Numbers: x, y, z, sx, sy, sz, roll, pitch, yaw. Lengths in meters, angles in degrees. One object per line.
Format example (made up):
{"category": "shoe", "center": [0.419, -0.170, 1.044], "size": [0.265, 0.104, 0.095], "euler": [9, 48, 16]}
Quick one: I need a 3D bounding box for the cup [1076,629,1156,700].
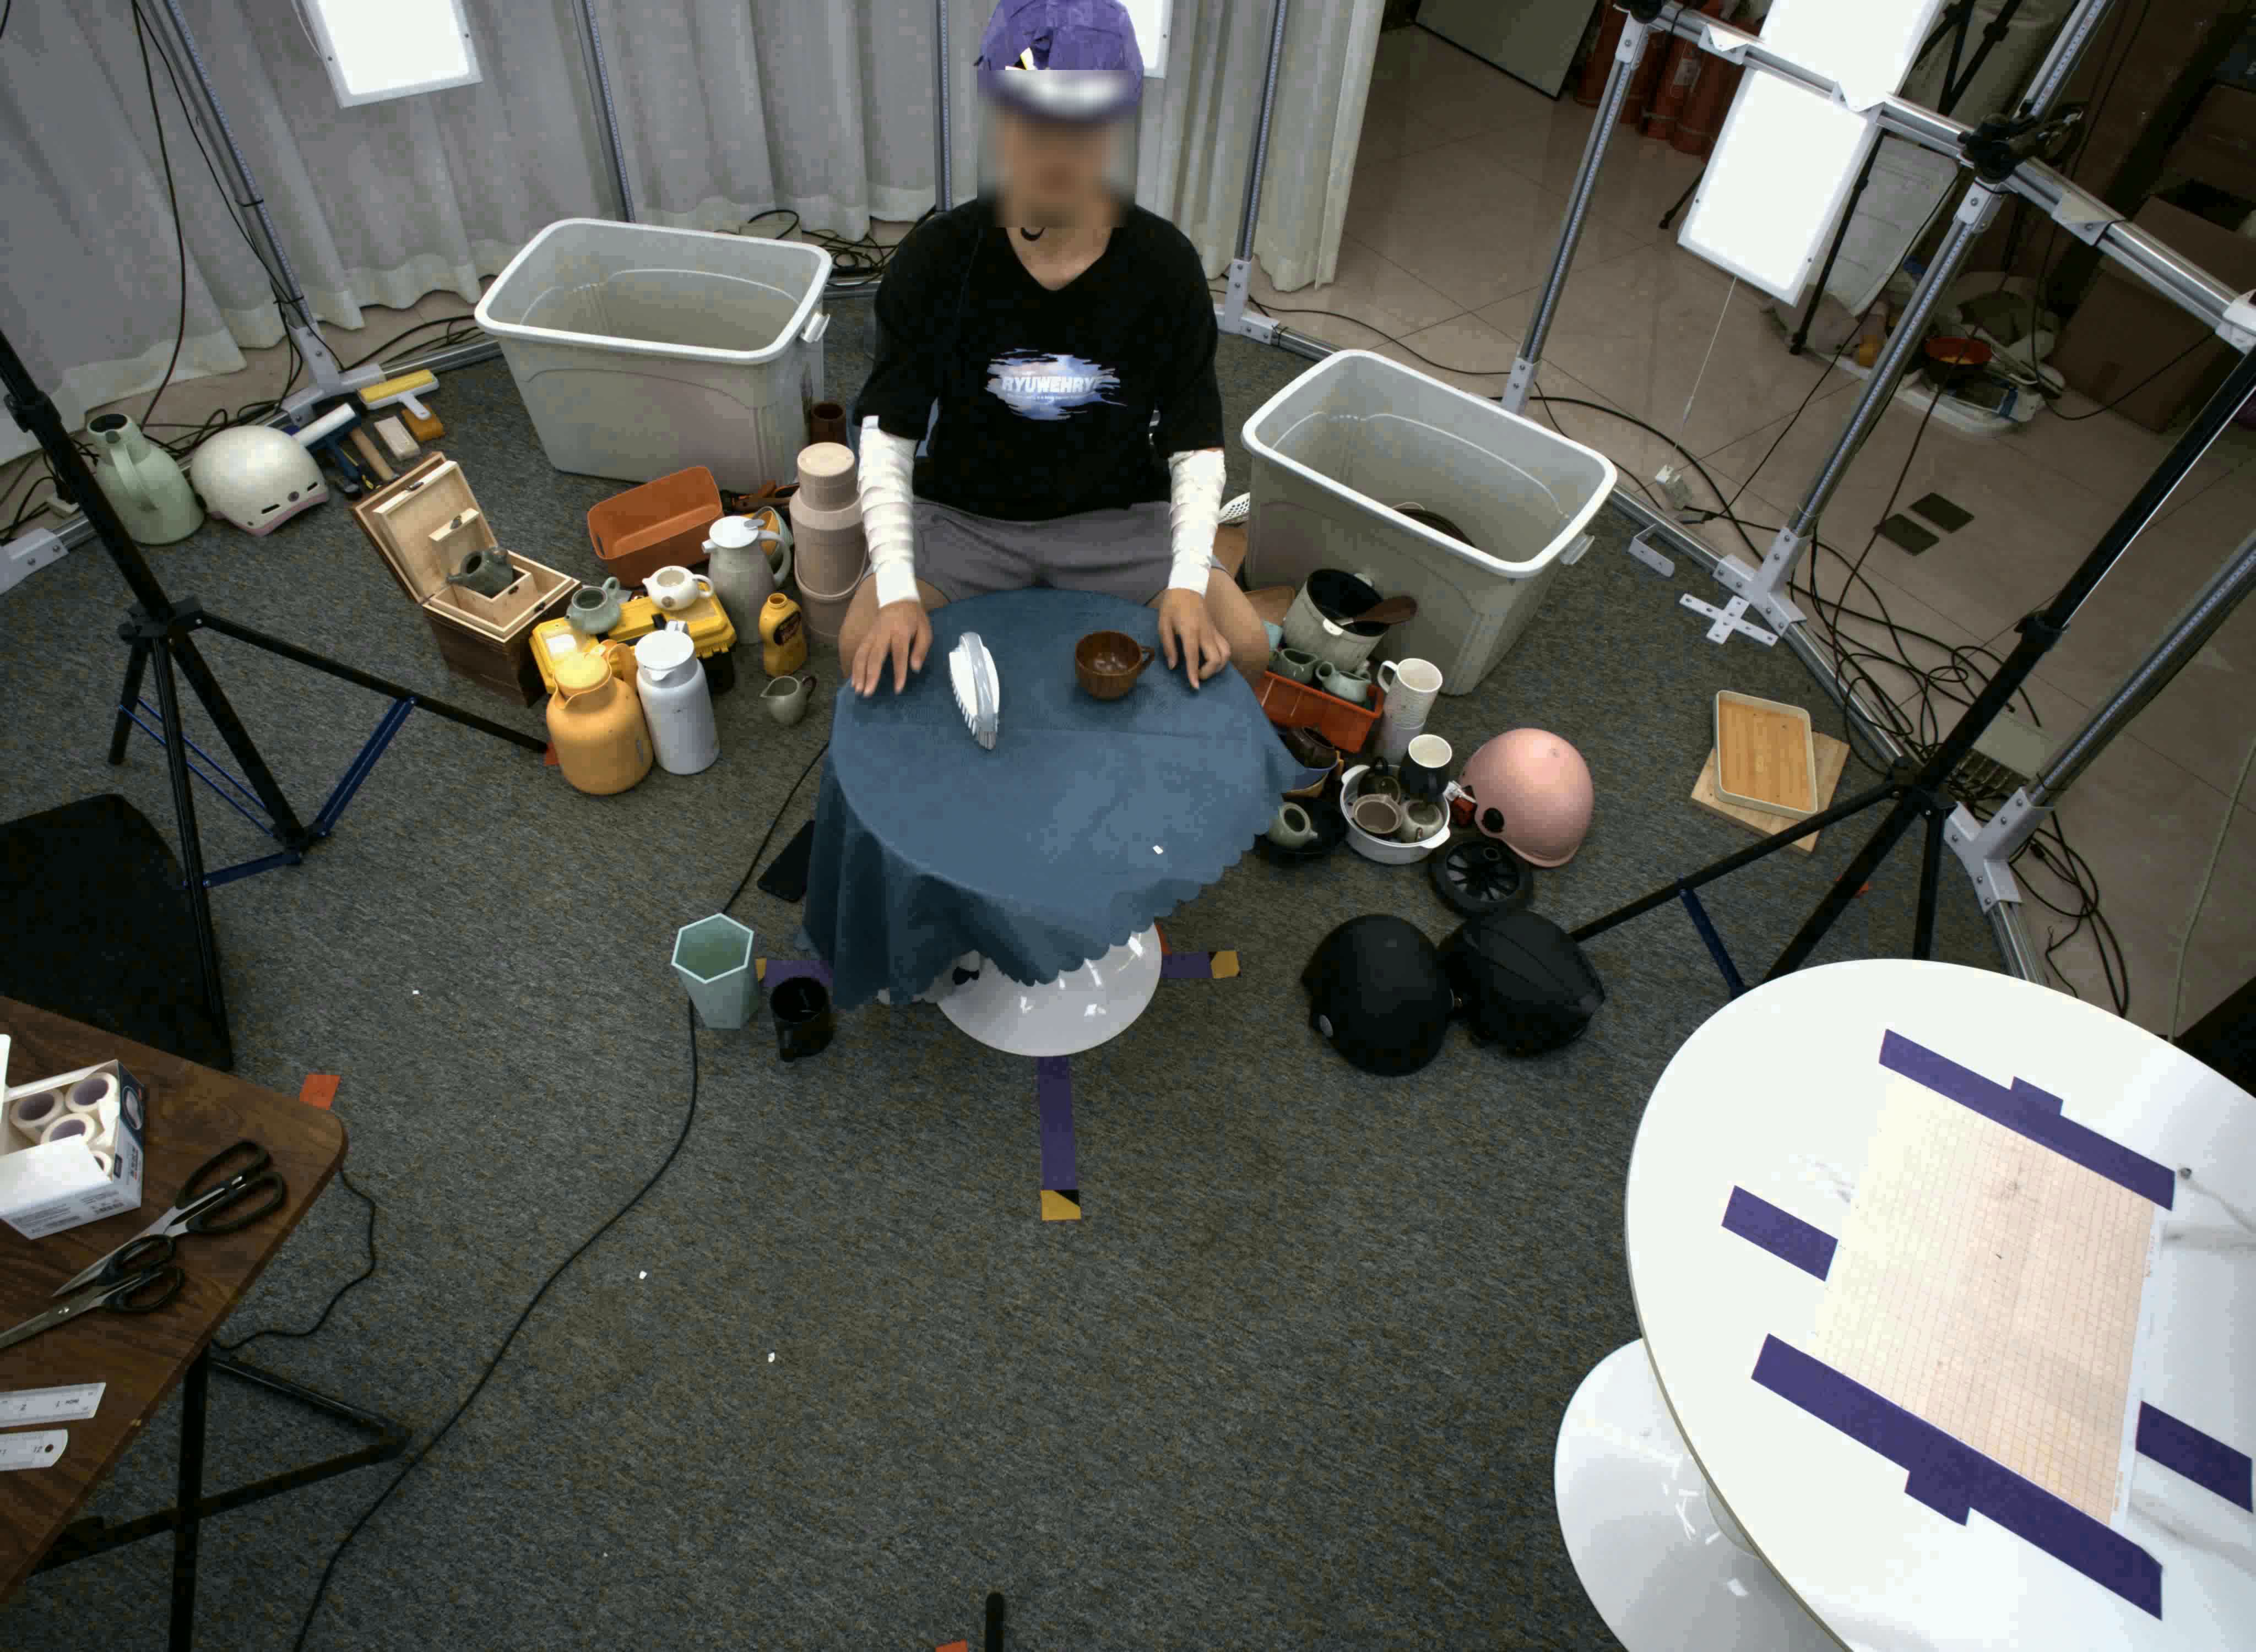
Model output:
{"category": "cup", "center": [-0.016, -0.227, 1.824], "size": [0.119, 0.066, 0.098], "euler": [-13, 50, -16]}

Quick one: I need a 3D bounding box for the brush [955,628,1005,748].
{"category": "brush", "center": [-0.202, -0.199, 1.774], "size": [0.061, 0.092, 0.180], "euler": [-11, 54, -7]}
